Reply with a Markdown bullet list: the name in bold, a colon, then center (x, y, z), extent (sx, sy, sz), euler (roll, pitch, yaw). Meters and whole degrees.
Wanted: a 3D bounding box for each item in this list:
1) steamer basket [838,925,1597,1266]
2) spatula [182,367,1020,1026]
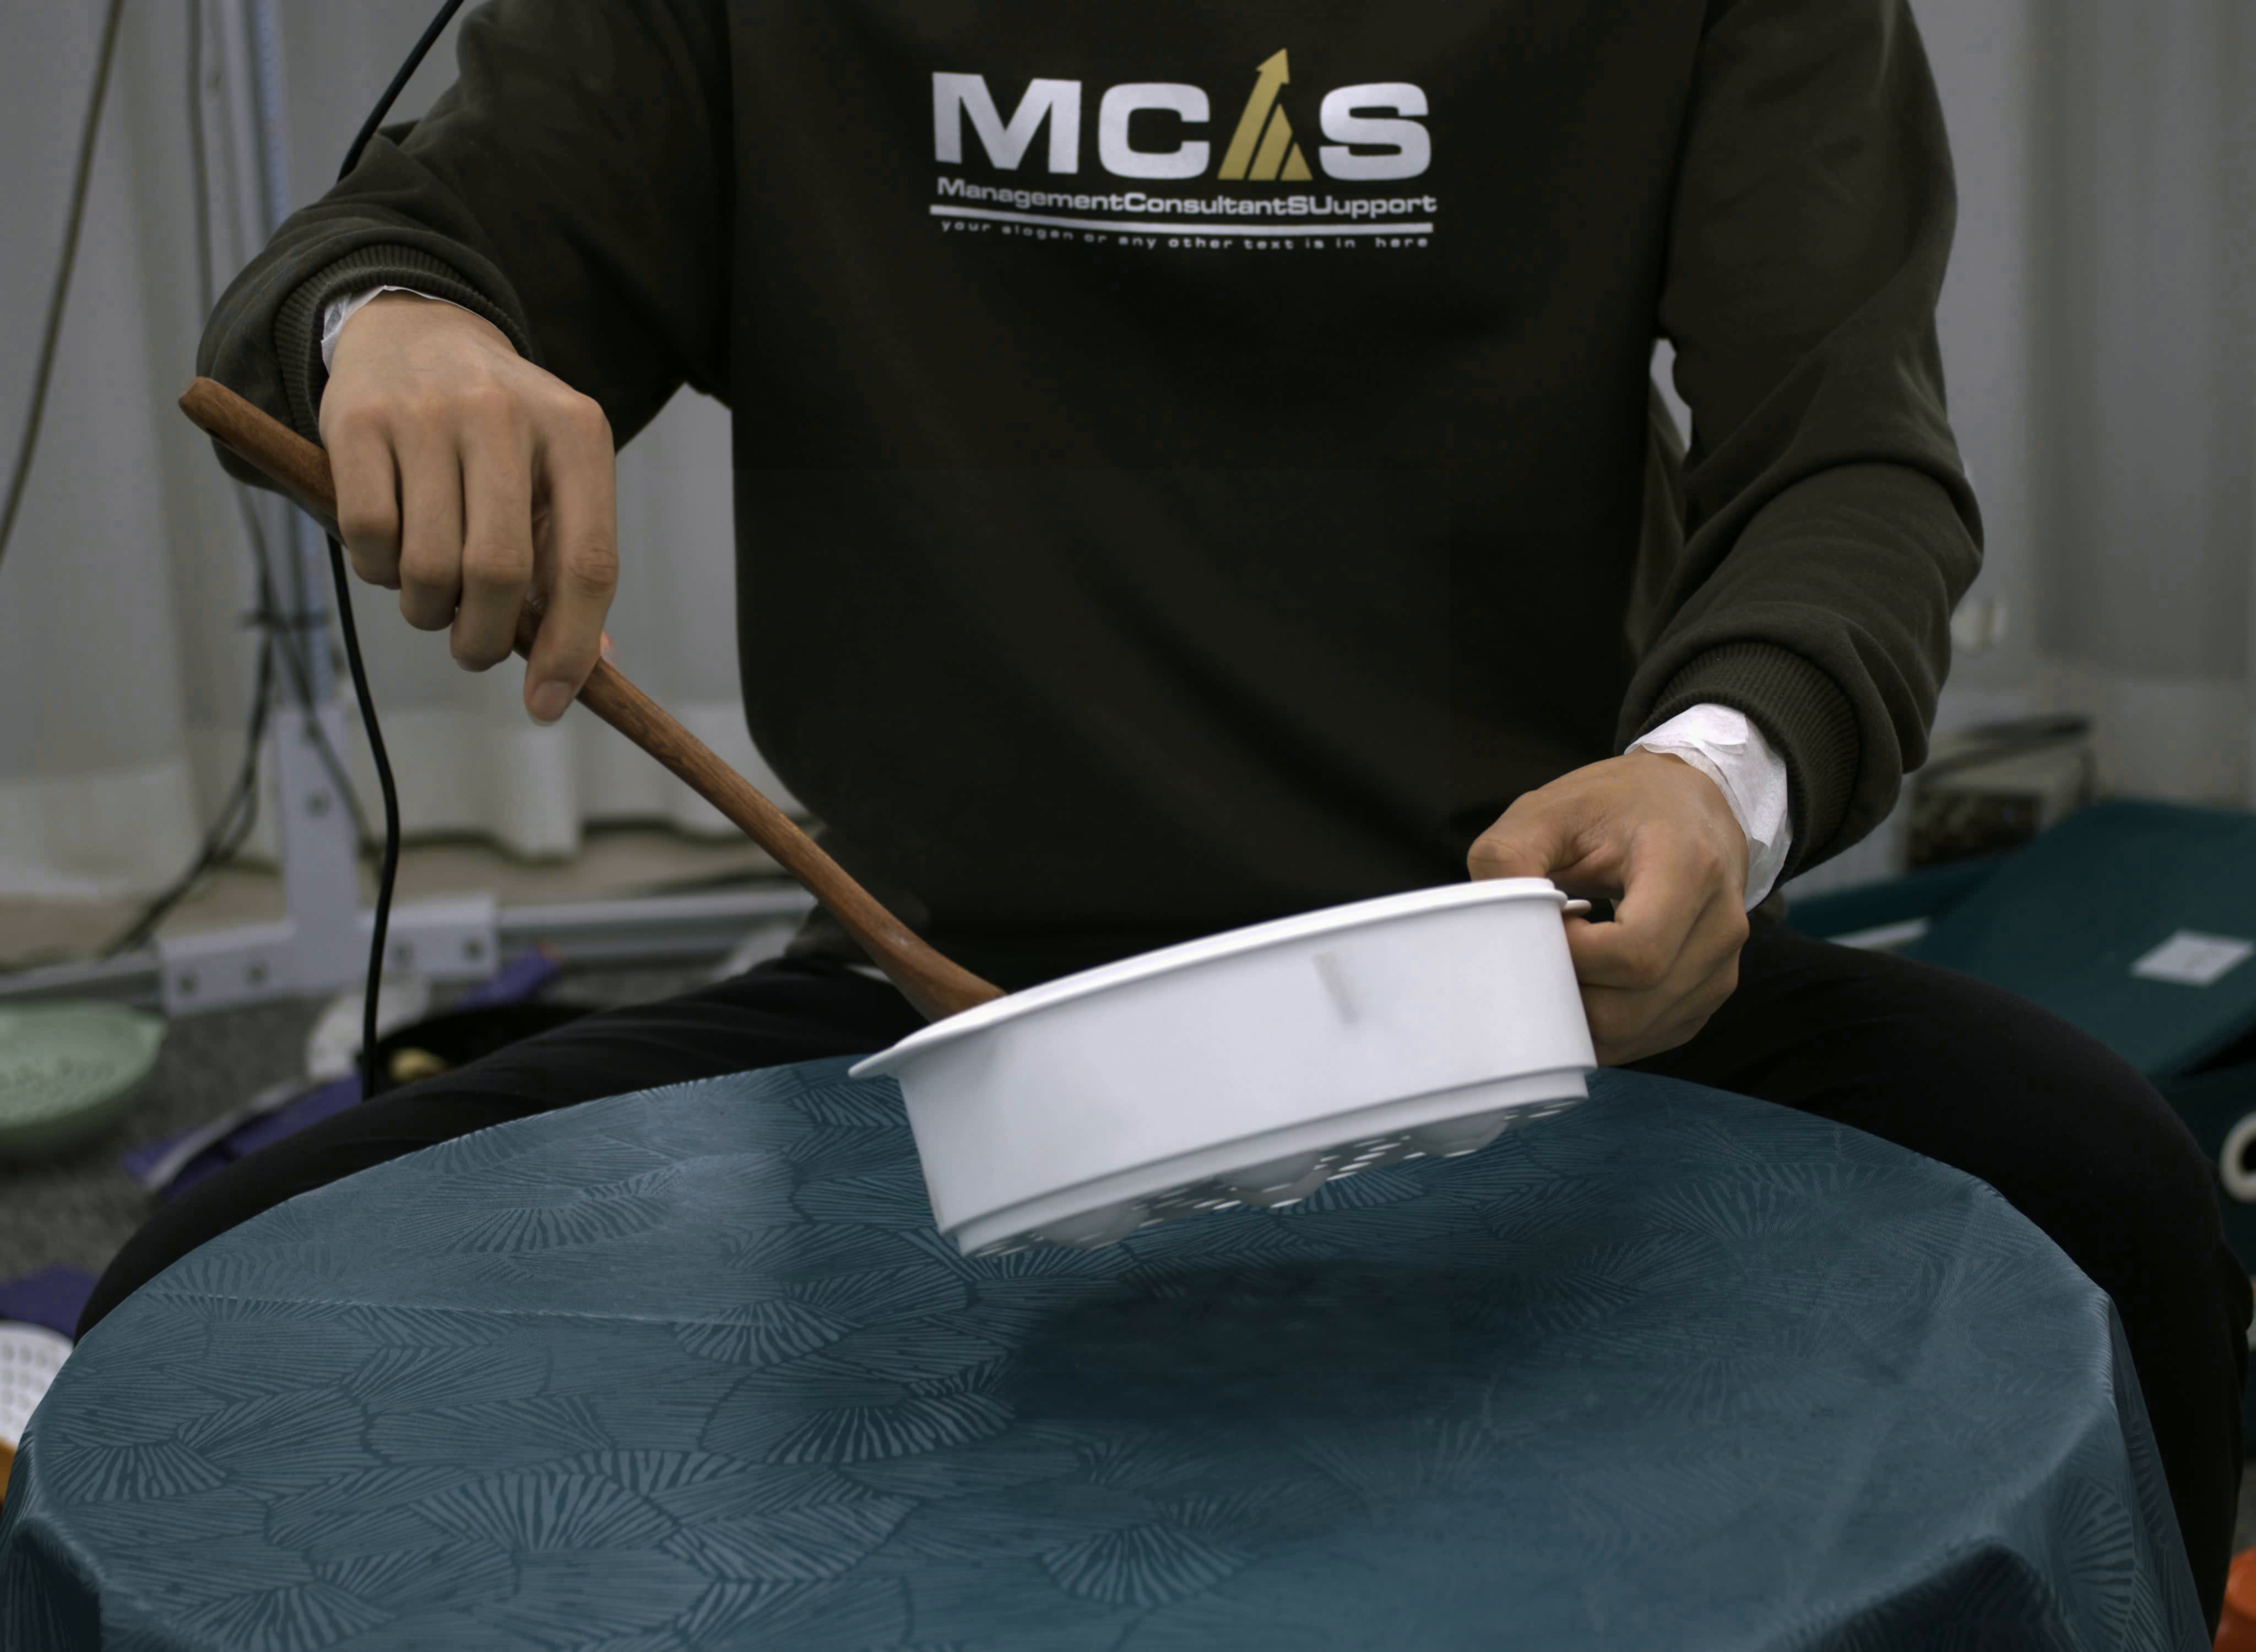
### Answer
- **steamer basket**: center (0.031, 0.080, 1.555), extent (0.229, 0.070, 0.201), euler (-4, -10, -27)
- **spatula**: center (-0.124, -0.013, 1.594), extent (0.386, 0.024, 0.085), euler (39, -13, 4)
